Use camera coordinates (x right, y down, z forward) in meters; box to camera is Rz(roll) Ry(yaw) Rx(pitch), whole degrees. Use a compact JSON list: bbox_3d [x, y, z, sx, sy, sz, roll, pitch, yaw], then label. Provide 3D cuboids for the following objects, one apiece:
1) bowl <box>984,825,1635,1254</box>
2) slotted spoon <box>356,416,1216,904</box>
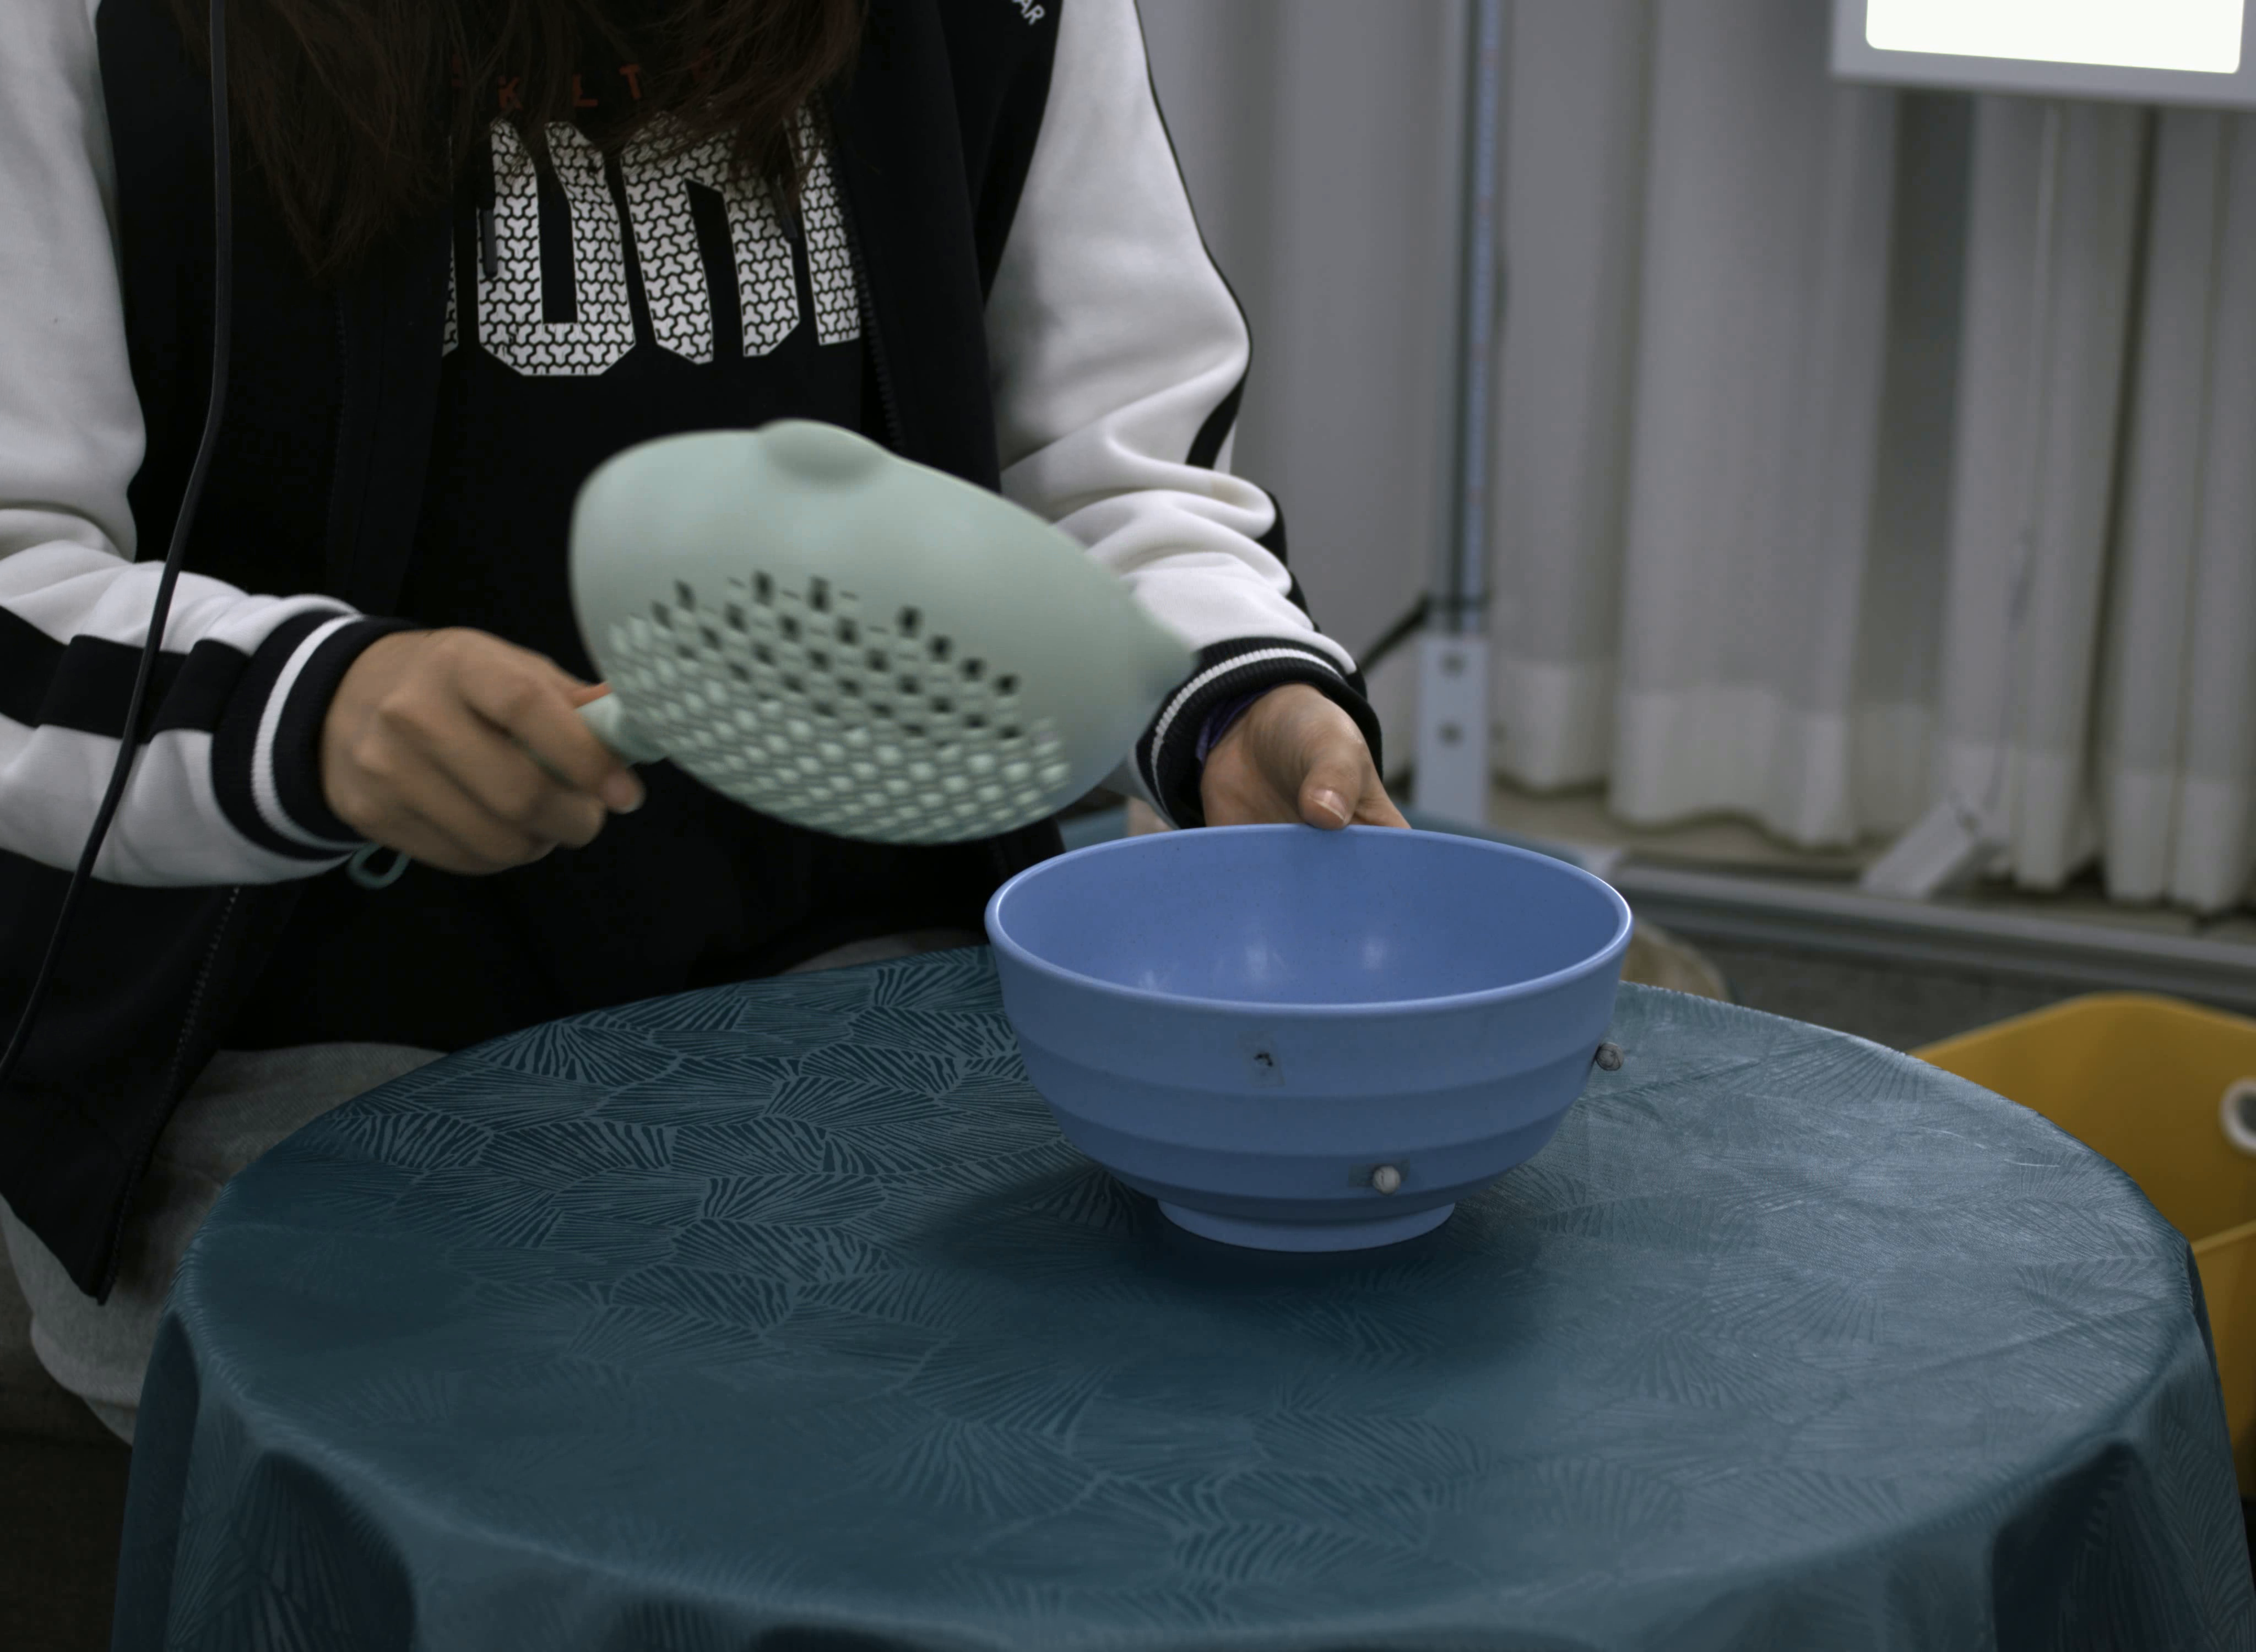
[{"bbox_3d":[0.055,0.070,1.598,0.196,0.096,0.195,0,16,1],"label":"bowl"},{"bbox_3d":[-0.127,-0.030,1.501,0.171,0.075,0.356,28,-21,-29],"label":"slotted spoon"}]
